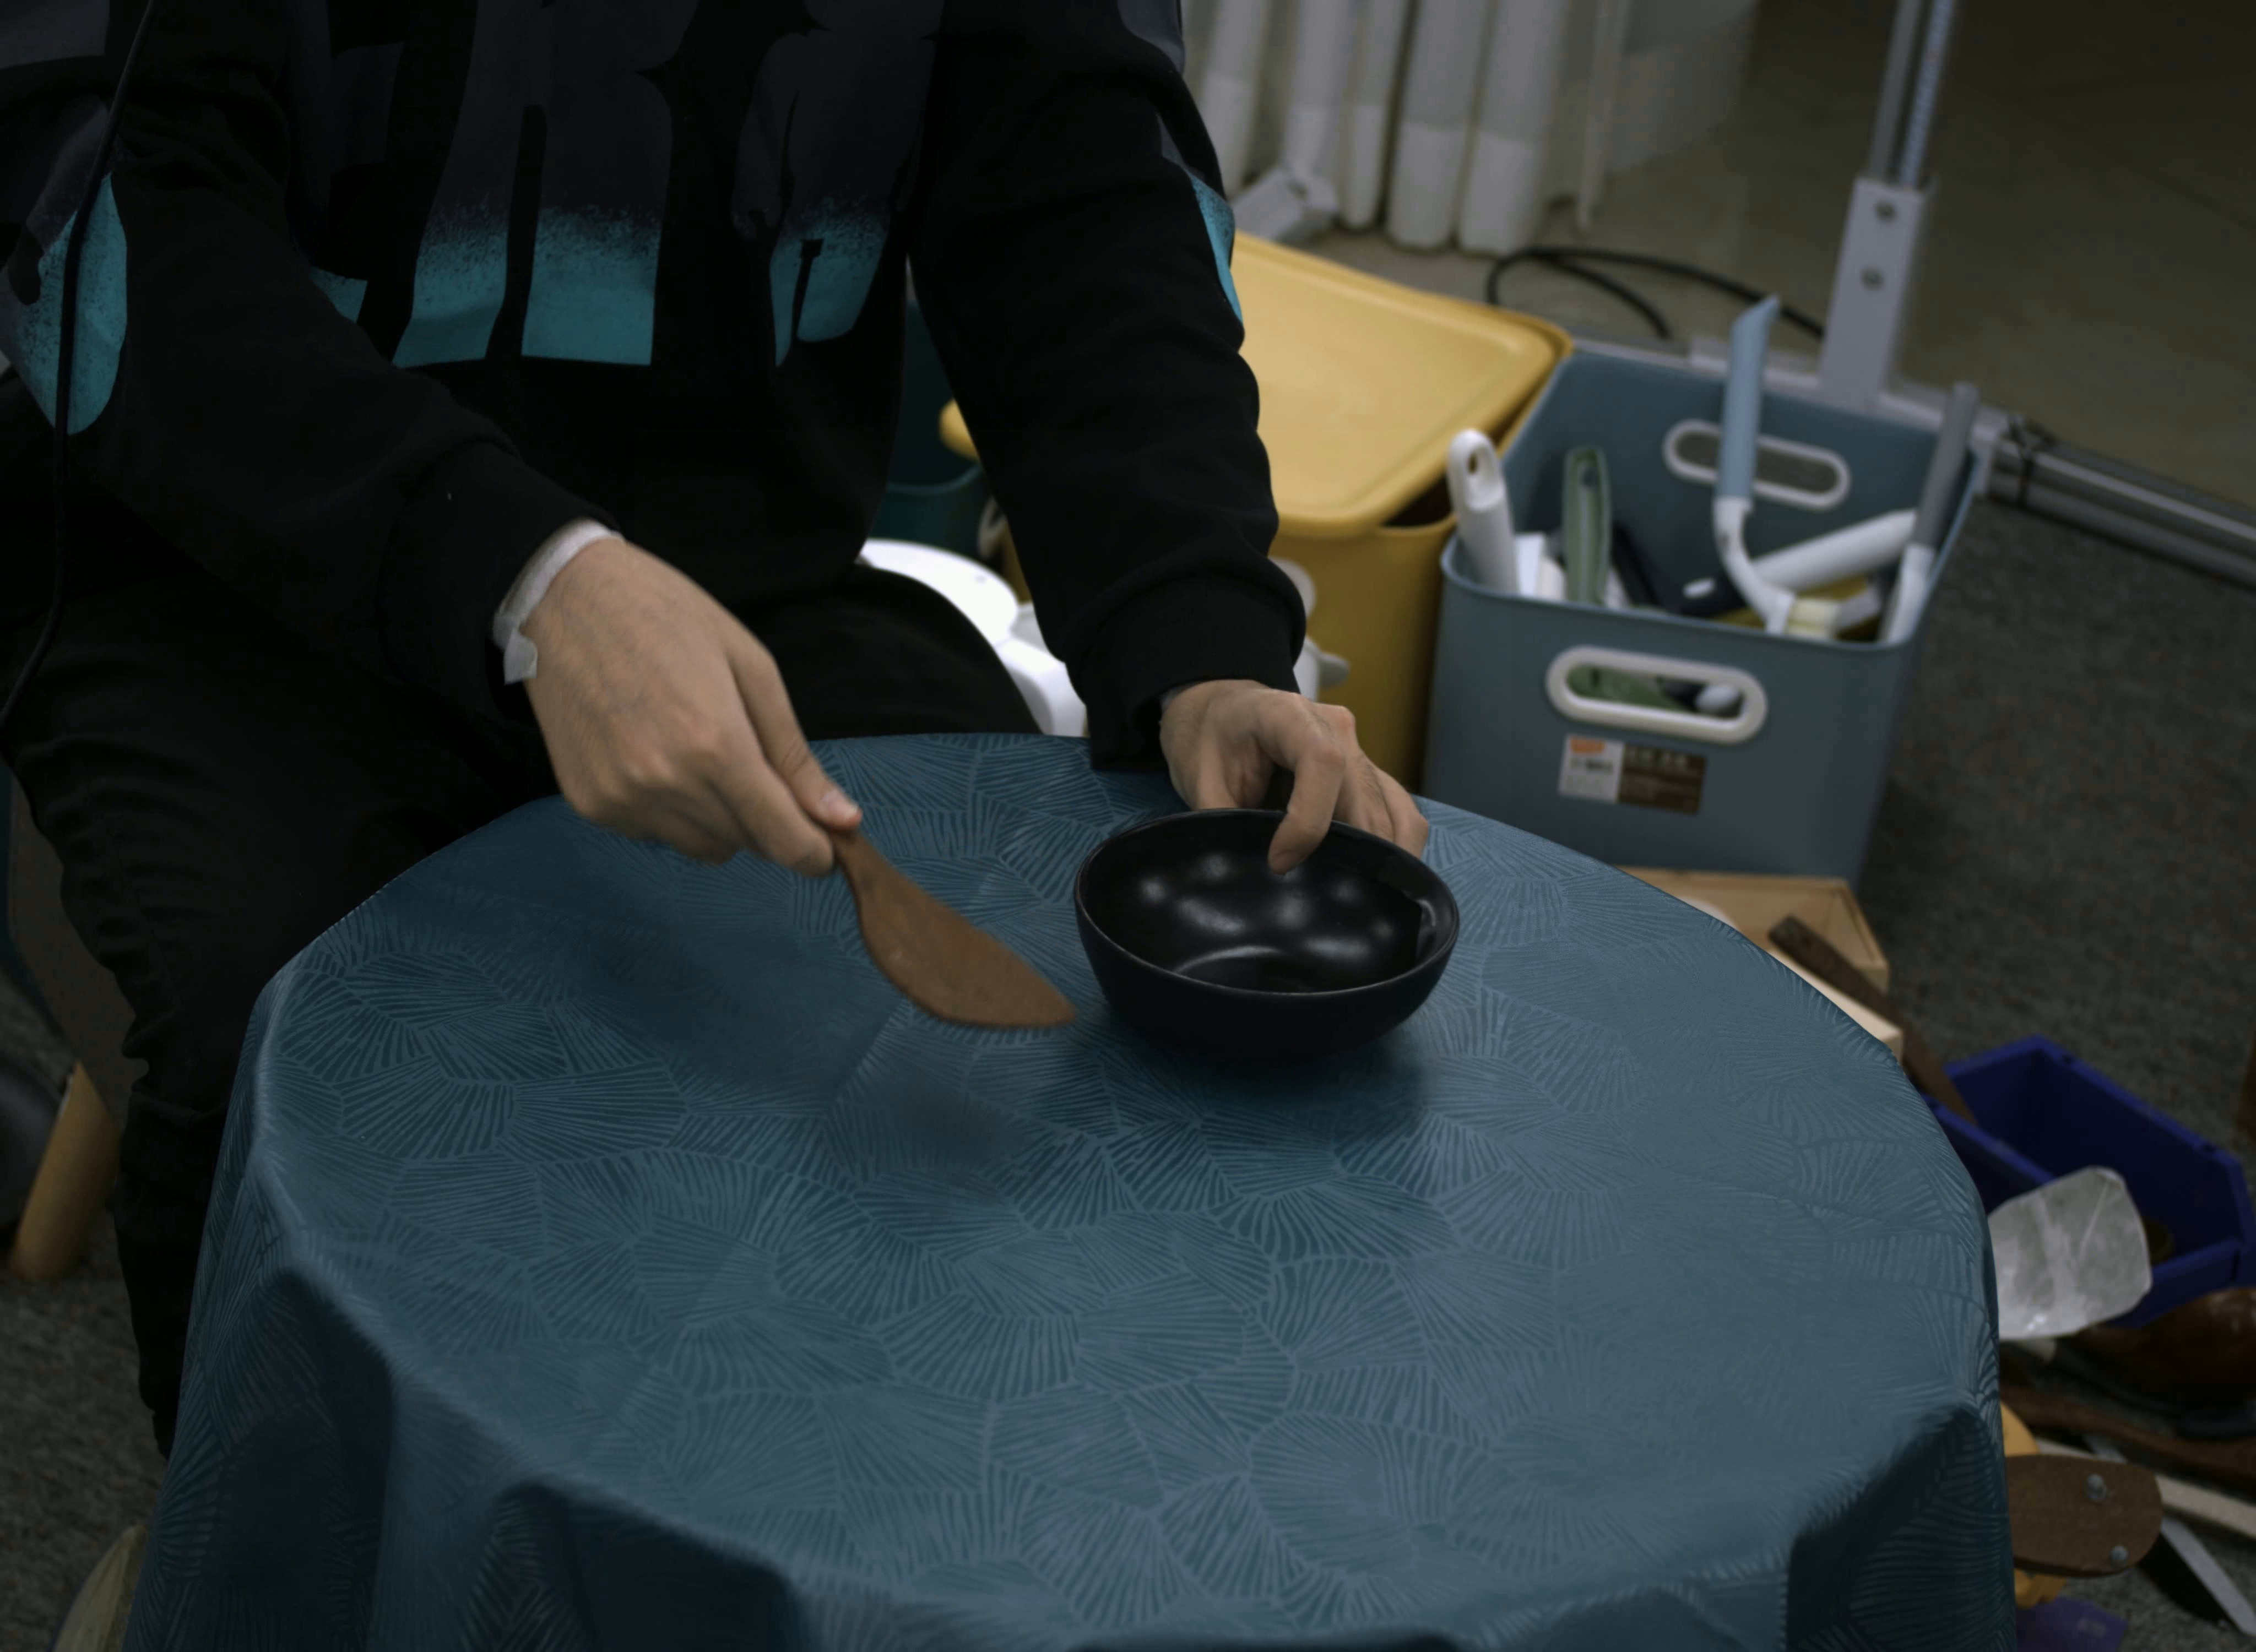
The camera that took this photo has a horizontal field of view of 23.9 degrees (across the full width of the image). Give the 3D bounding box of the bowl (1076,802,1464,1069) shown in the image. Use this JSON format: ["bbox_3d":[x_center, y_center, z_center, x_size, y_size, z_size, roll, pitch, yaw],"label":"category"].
[{"bbox_3d":[0.050,0.047,1.905,0.139,0.049,0.141,2,30,-1],"label":"bowl"}]

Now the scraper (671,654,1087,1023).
[{"bbox_3d":[-0.096,0.004,1.847,0.075,0.011,0.213,3,35,-48],"label":"scraper"}]
